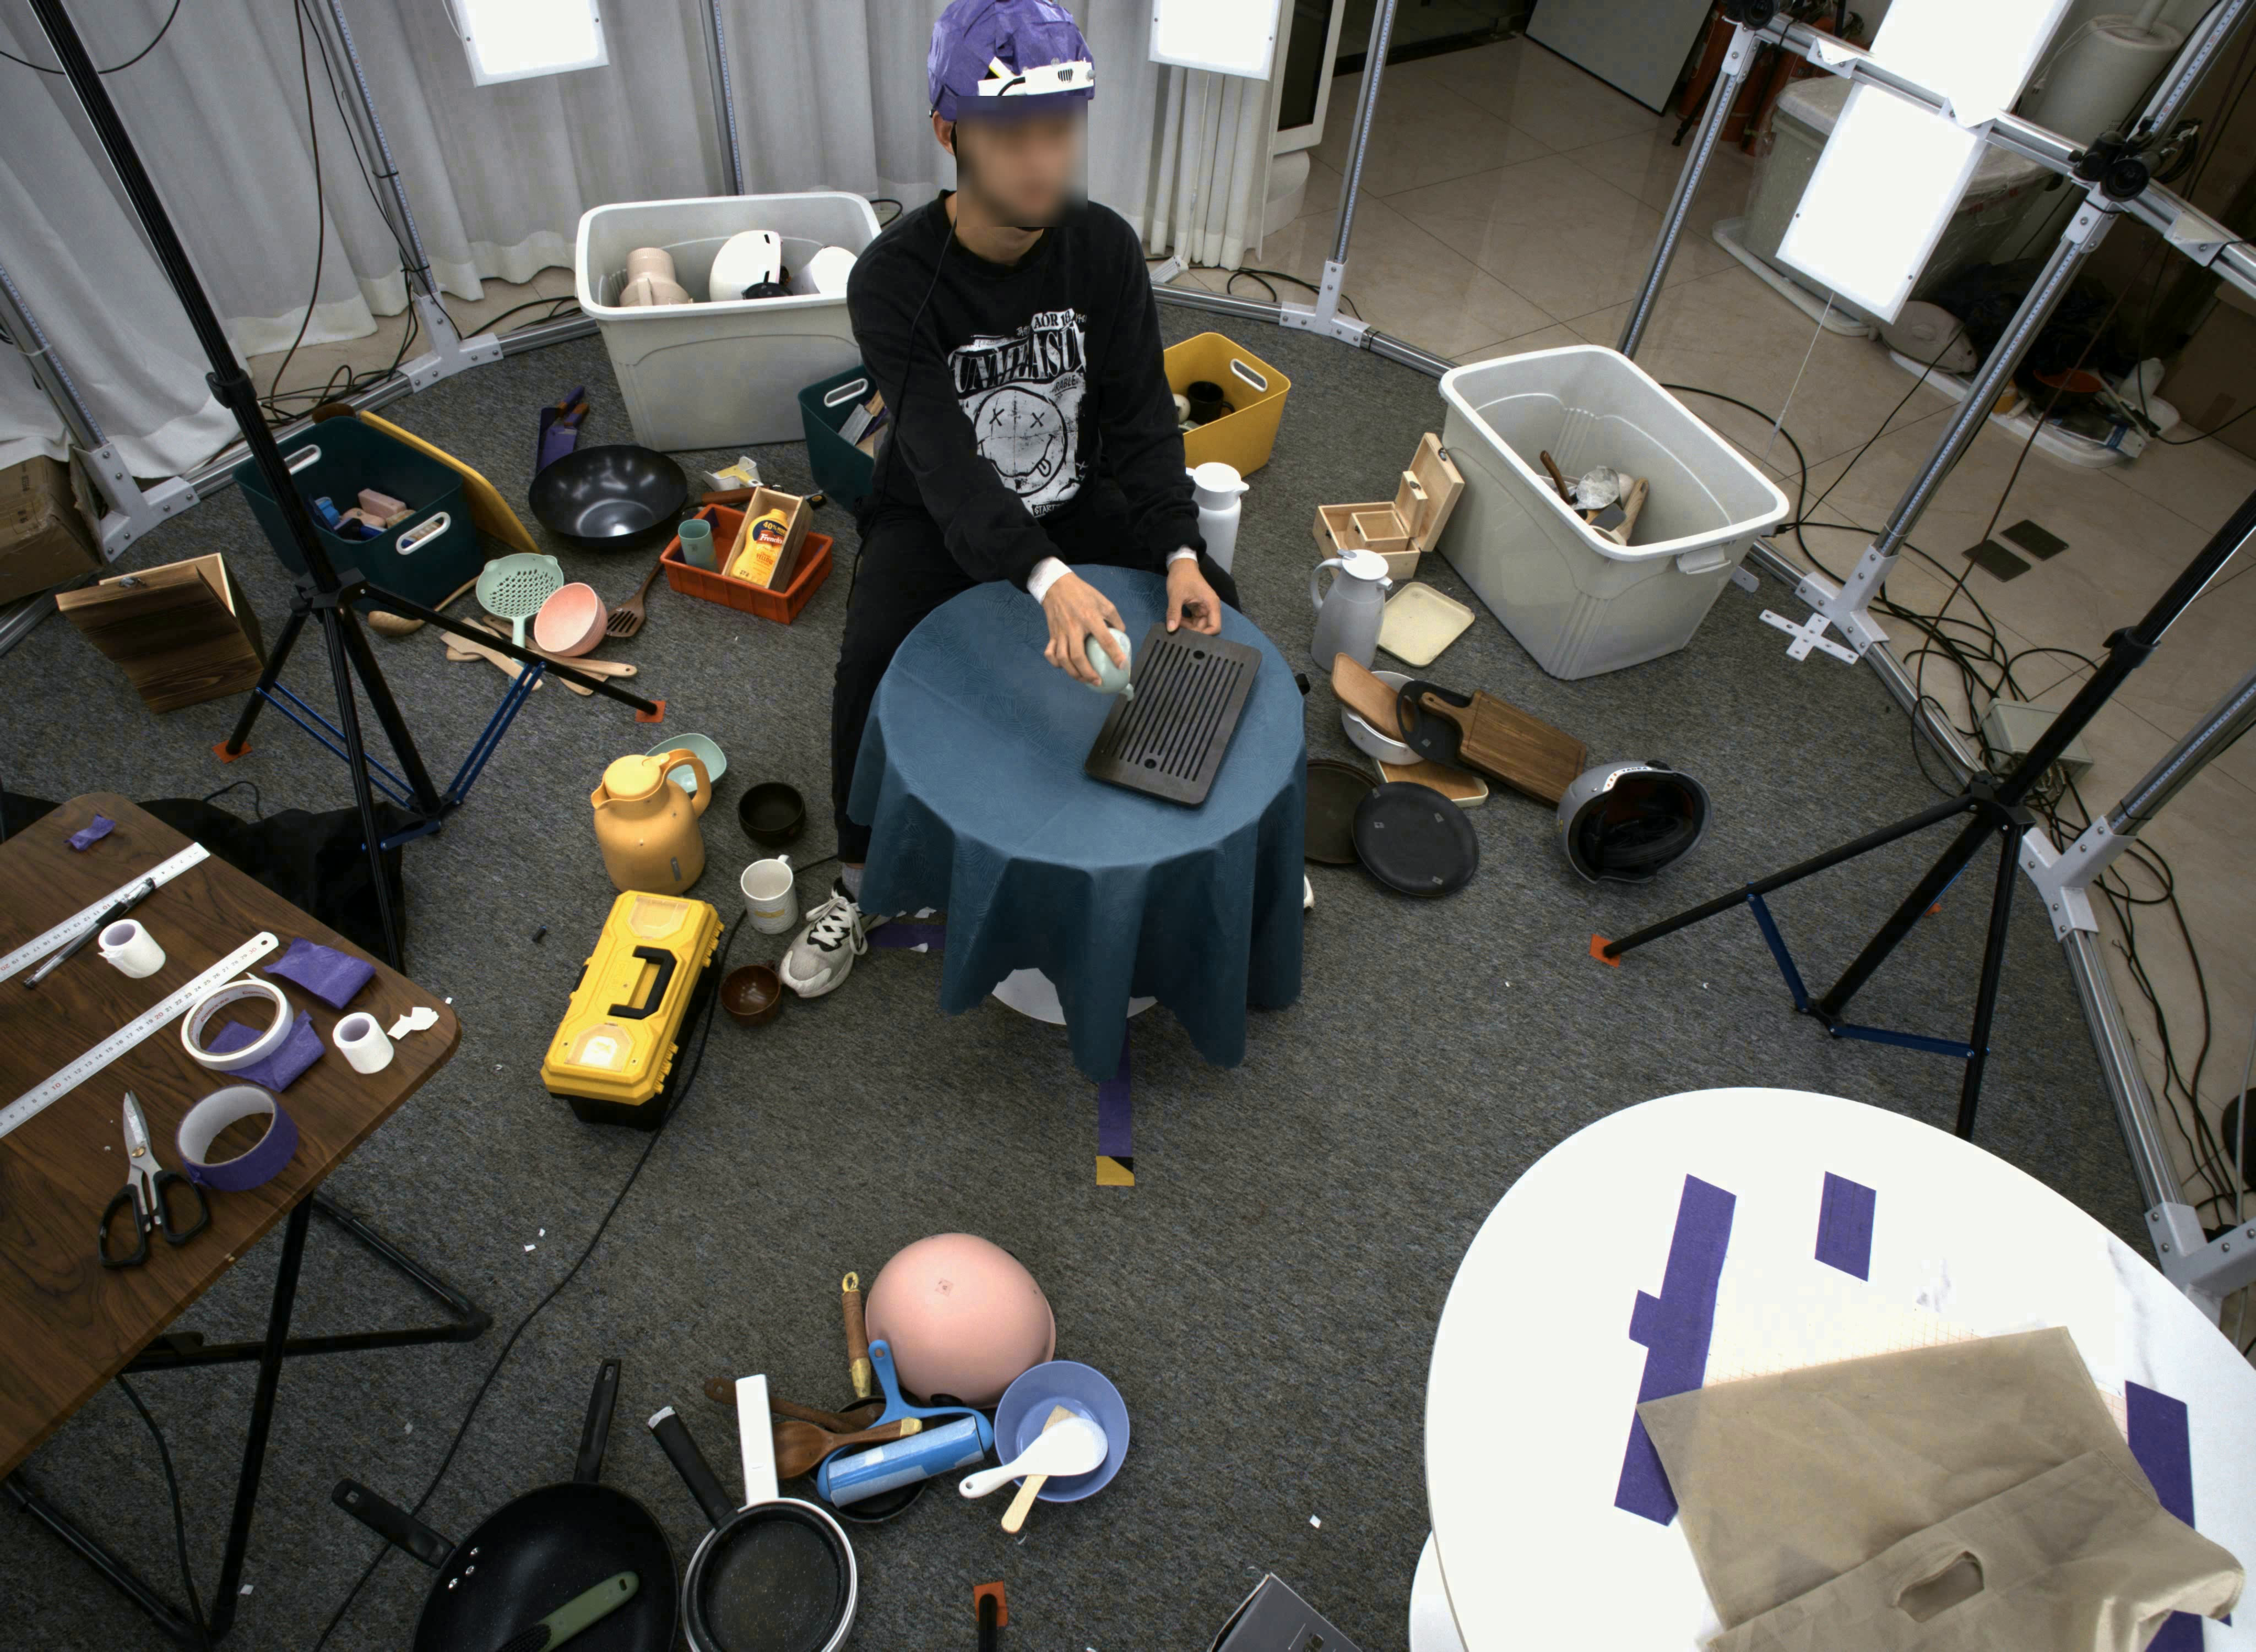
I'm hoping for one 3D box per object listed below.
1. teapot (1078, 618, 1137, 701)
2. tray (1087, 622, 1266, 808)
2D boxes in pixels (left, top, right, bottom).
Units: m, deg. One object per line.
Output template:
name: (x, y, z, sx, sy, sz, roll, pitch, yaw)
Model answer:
teapot: (-0.028, -0.220, 1.697, 0.074, 0.140, 0.090, 3, 48, 0)
tray: (0.072, -0.160, 1.789, 0.171, 0.018, 0.312, 17, 54, 11)
